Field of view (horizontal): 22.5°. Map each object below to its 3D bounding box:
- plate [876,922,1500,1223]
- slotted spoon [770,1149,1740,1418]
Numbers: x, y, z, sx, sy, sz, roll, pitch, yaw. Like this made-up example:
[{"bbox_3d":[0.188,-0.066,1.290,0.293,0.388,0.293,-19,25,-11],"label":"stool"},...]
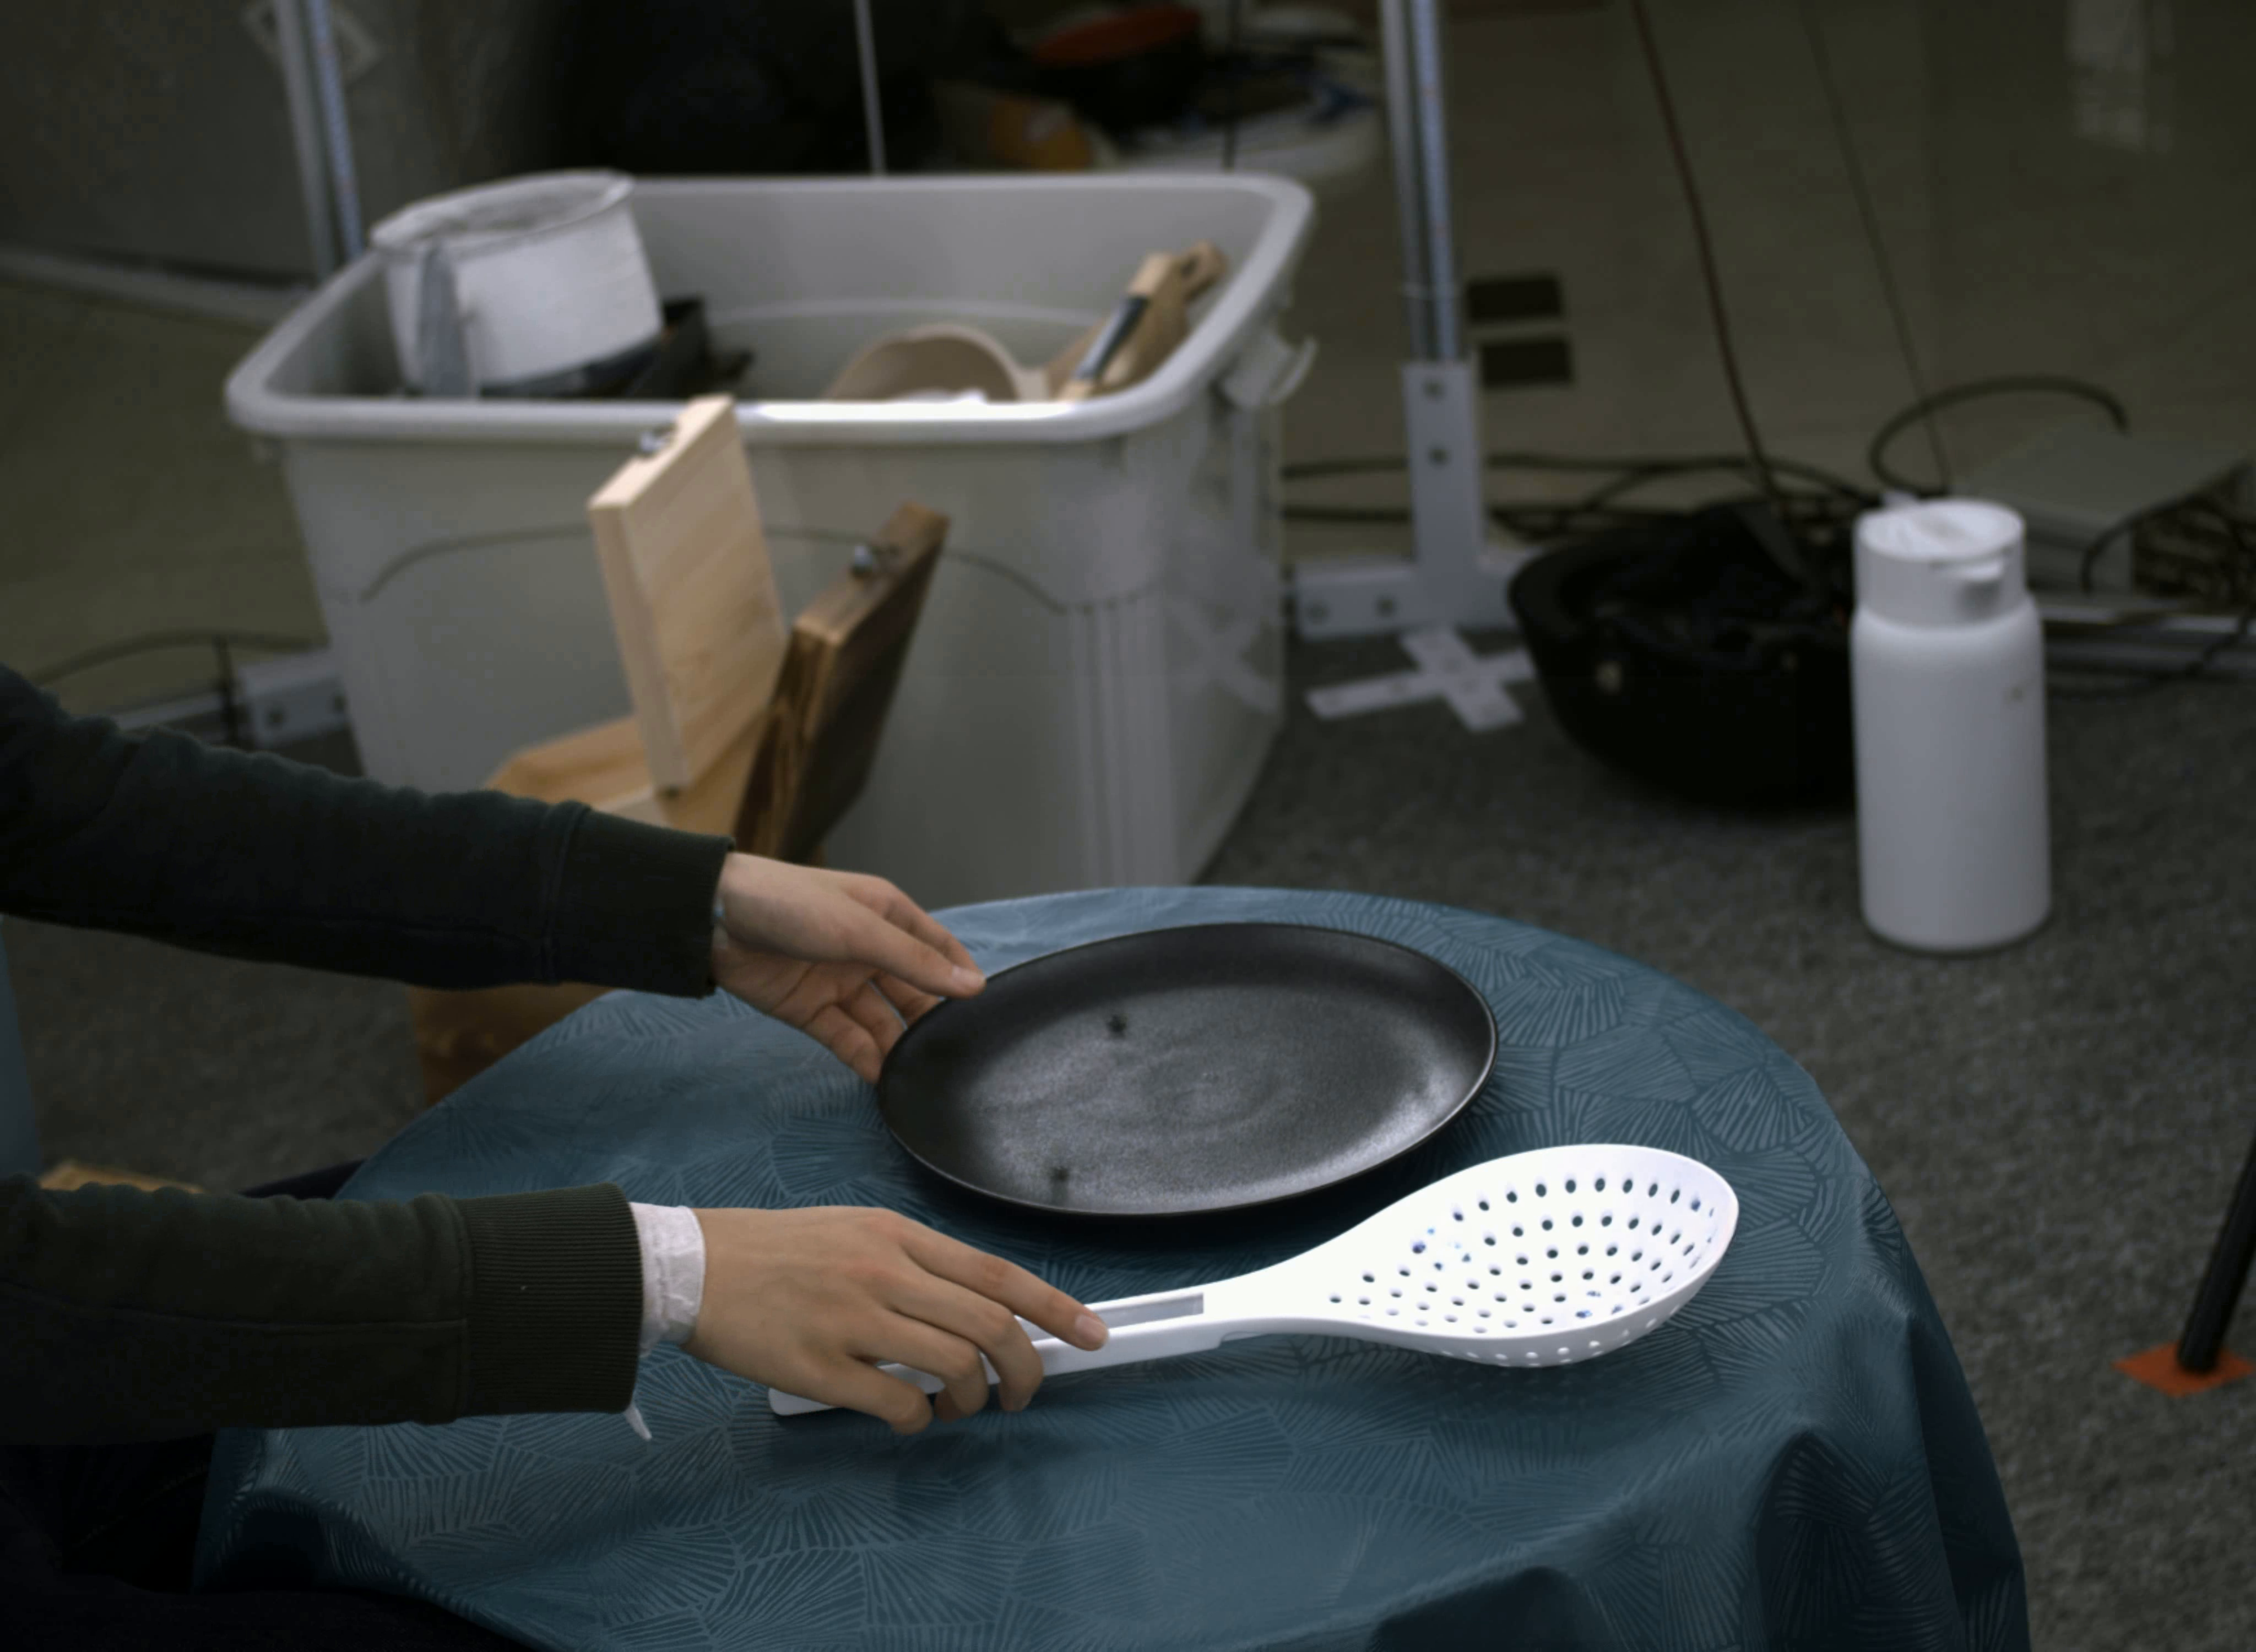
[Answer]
[{"bbox_3d":[0.023,0.101,2.202,0.244,0.024,0.241,-5,25,3],"label":"plate"},{"bbox_3d":[0.044,0.172,2.018,0.349,0.046,0.134,-6,23,4],"label":"slotted spoon"}]
